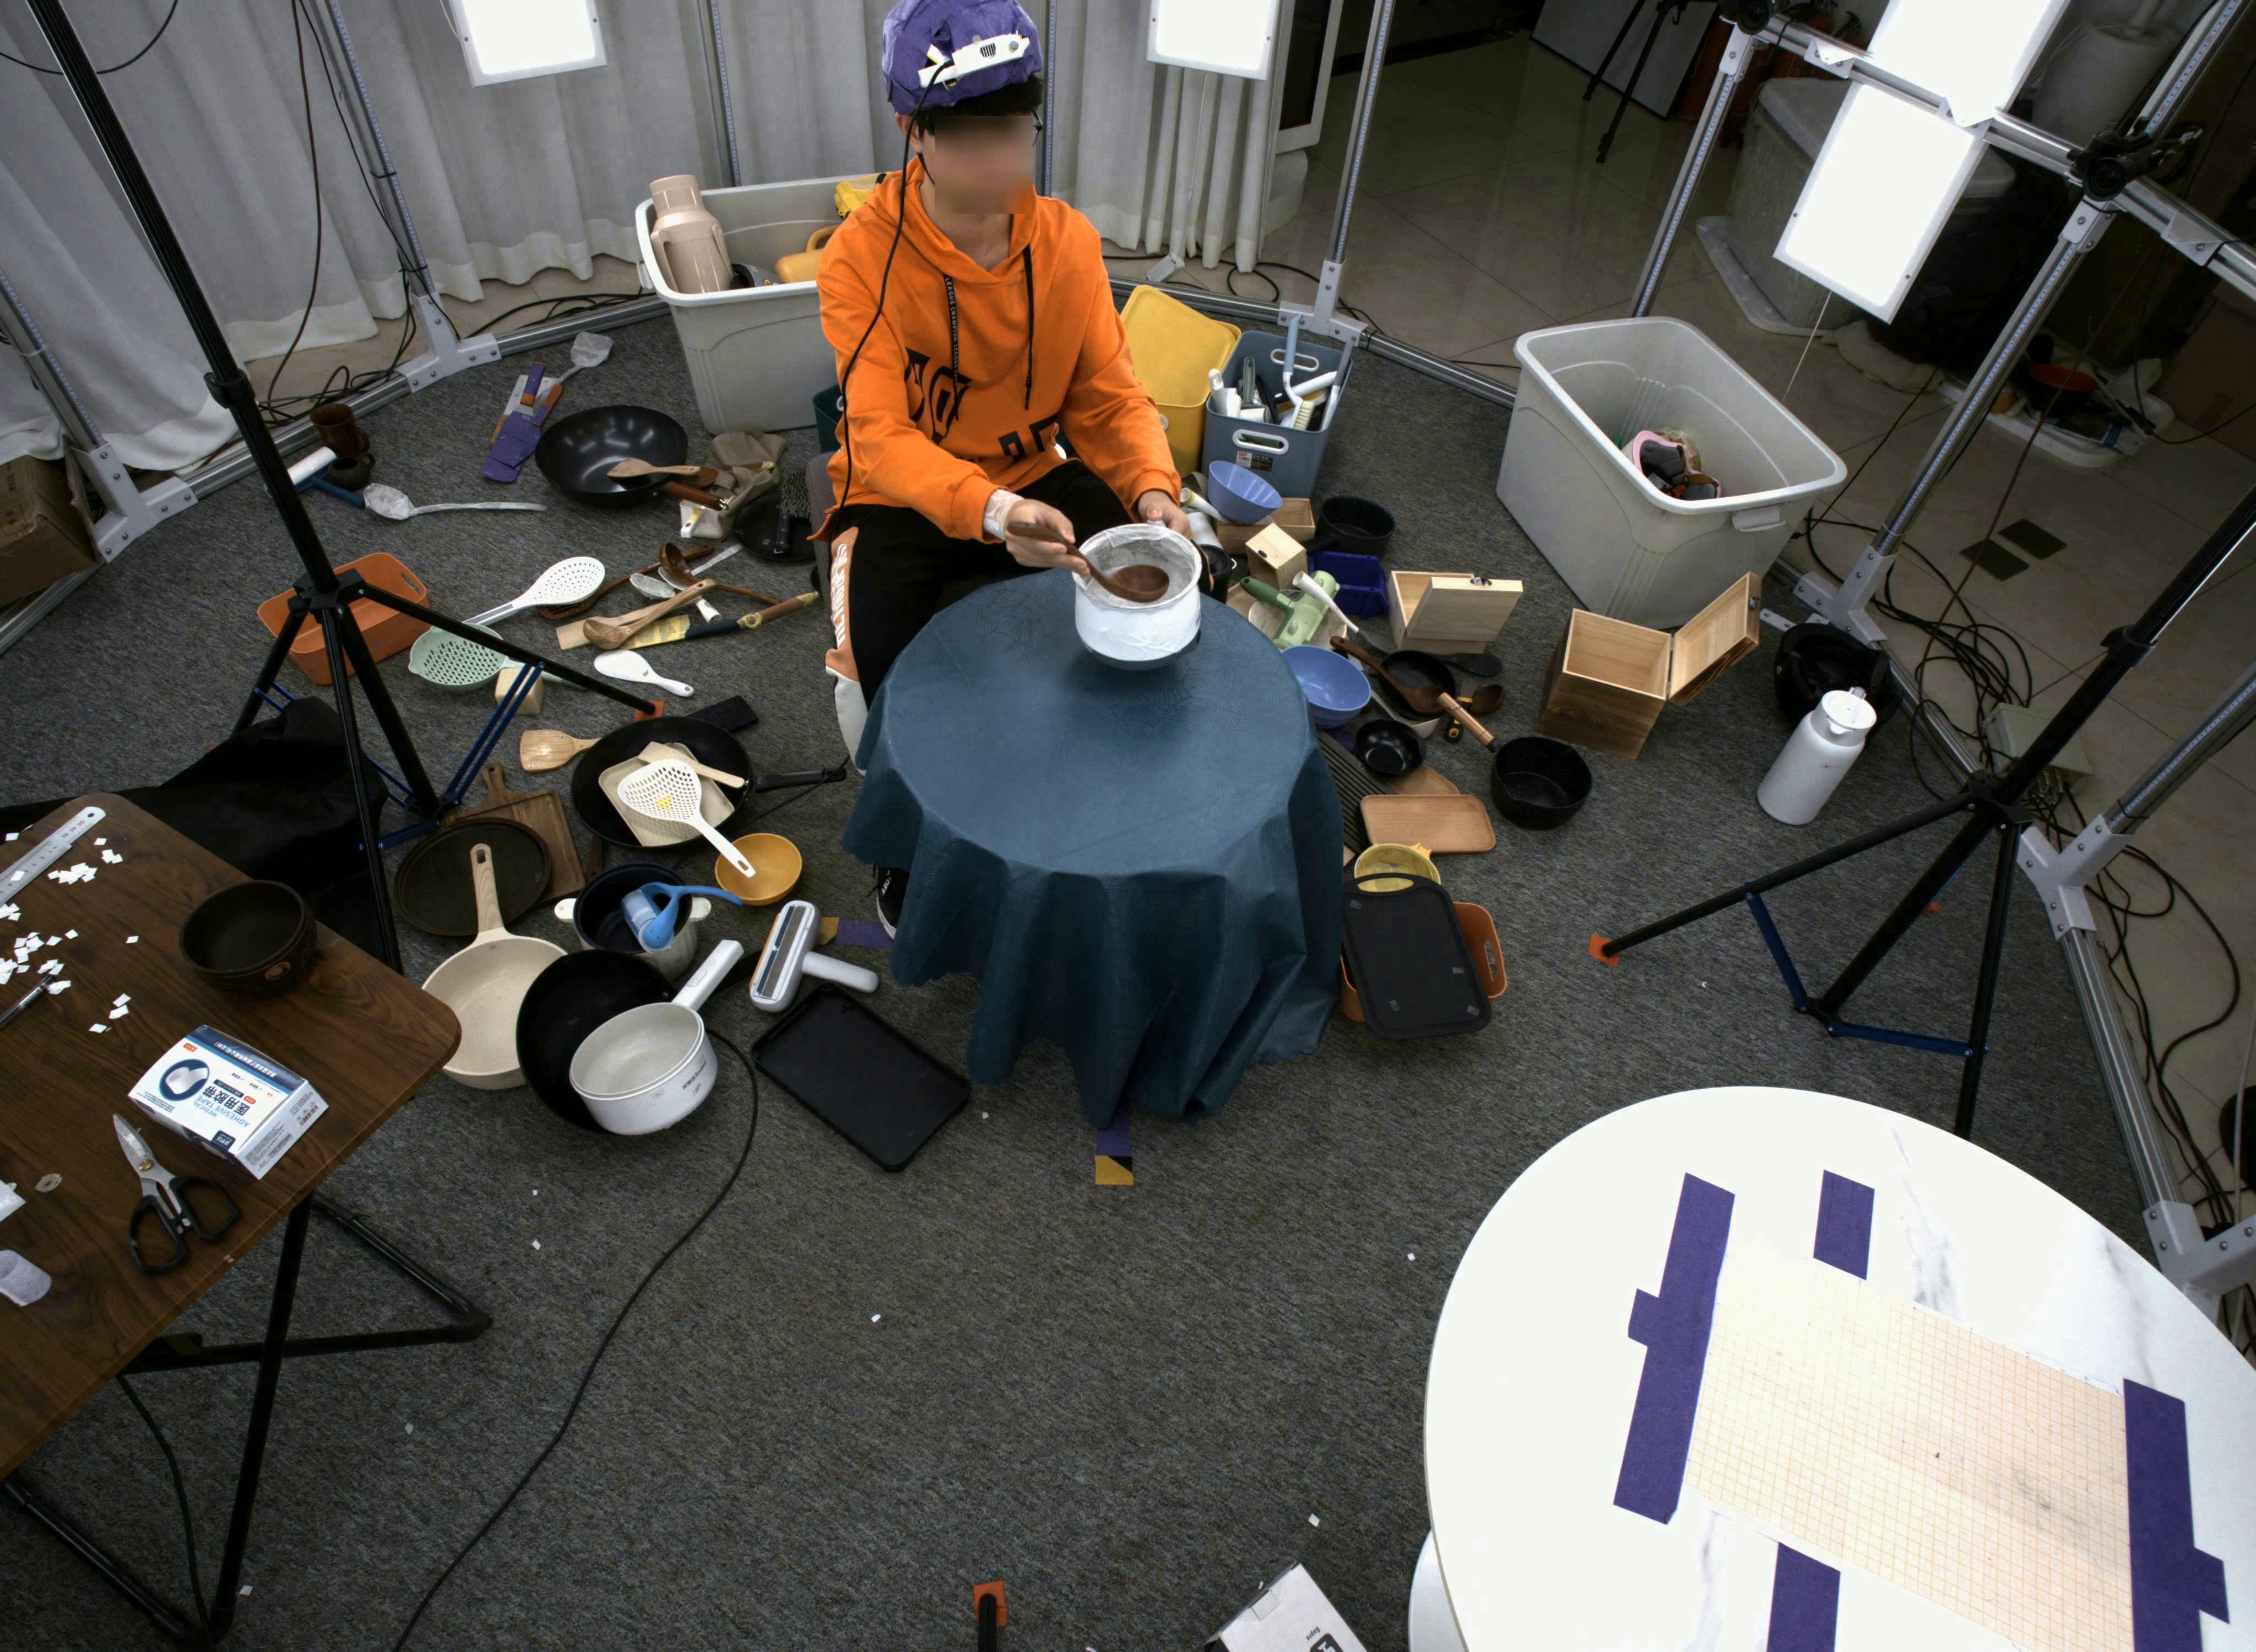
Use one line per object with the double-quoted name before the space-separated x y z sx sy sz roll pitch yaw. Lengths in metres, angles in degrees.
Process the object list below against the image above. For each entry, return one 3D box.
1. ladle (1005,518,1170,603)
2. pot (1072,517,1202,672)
"ladle" -0.047 -0.354 1.661 0.256 0.064 0.078 23 16 -43
"pot" 0.020 -0.336 1.811 0.179 0.133 0.239 9 51 10
